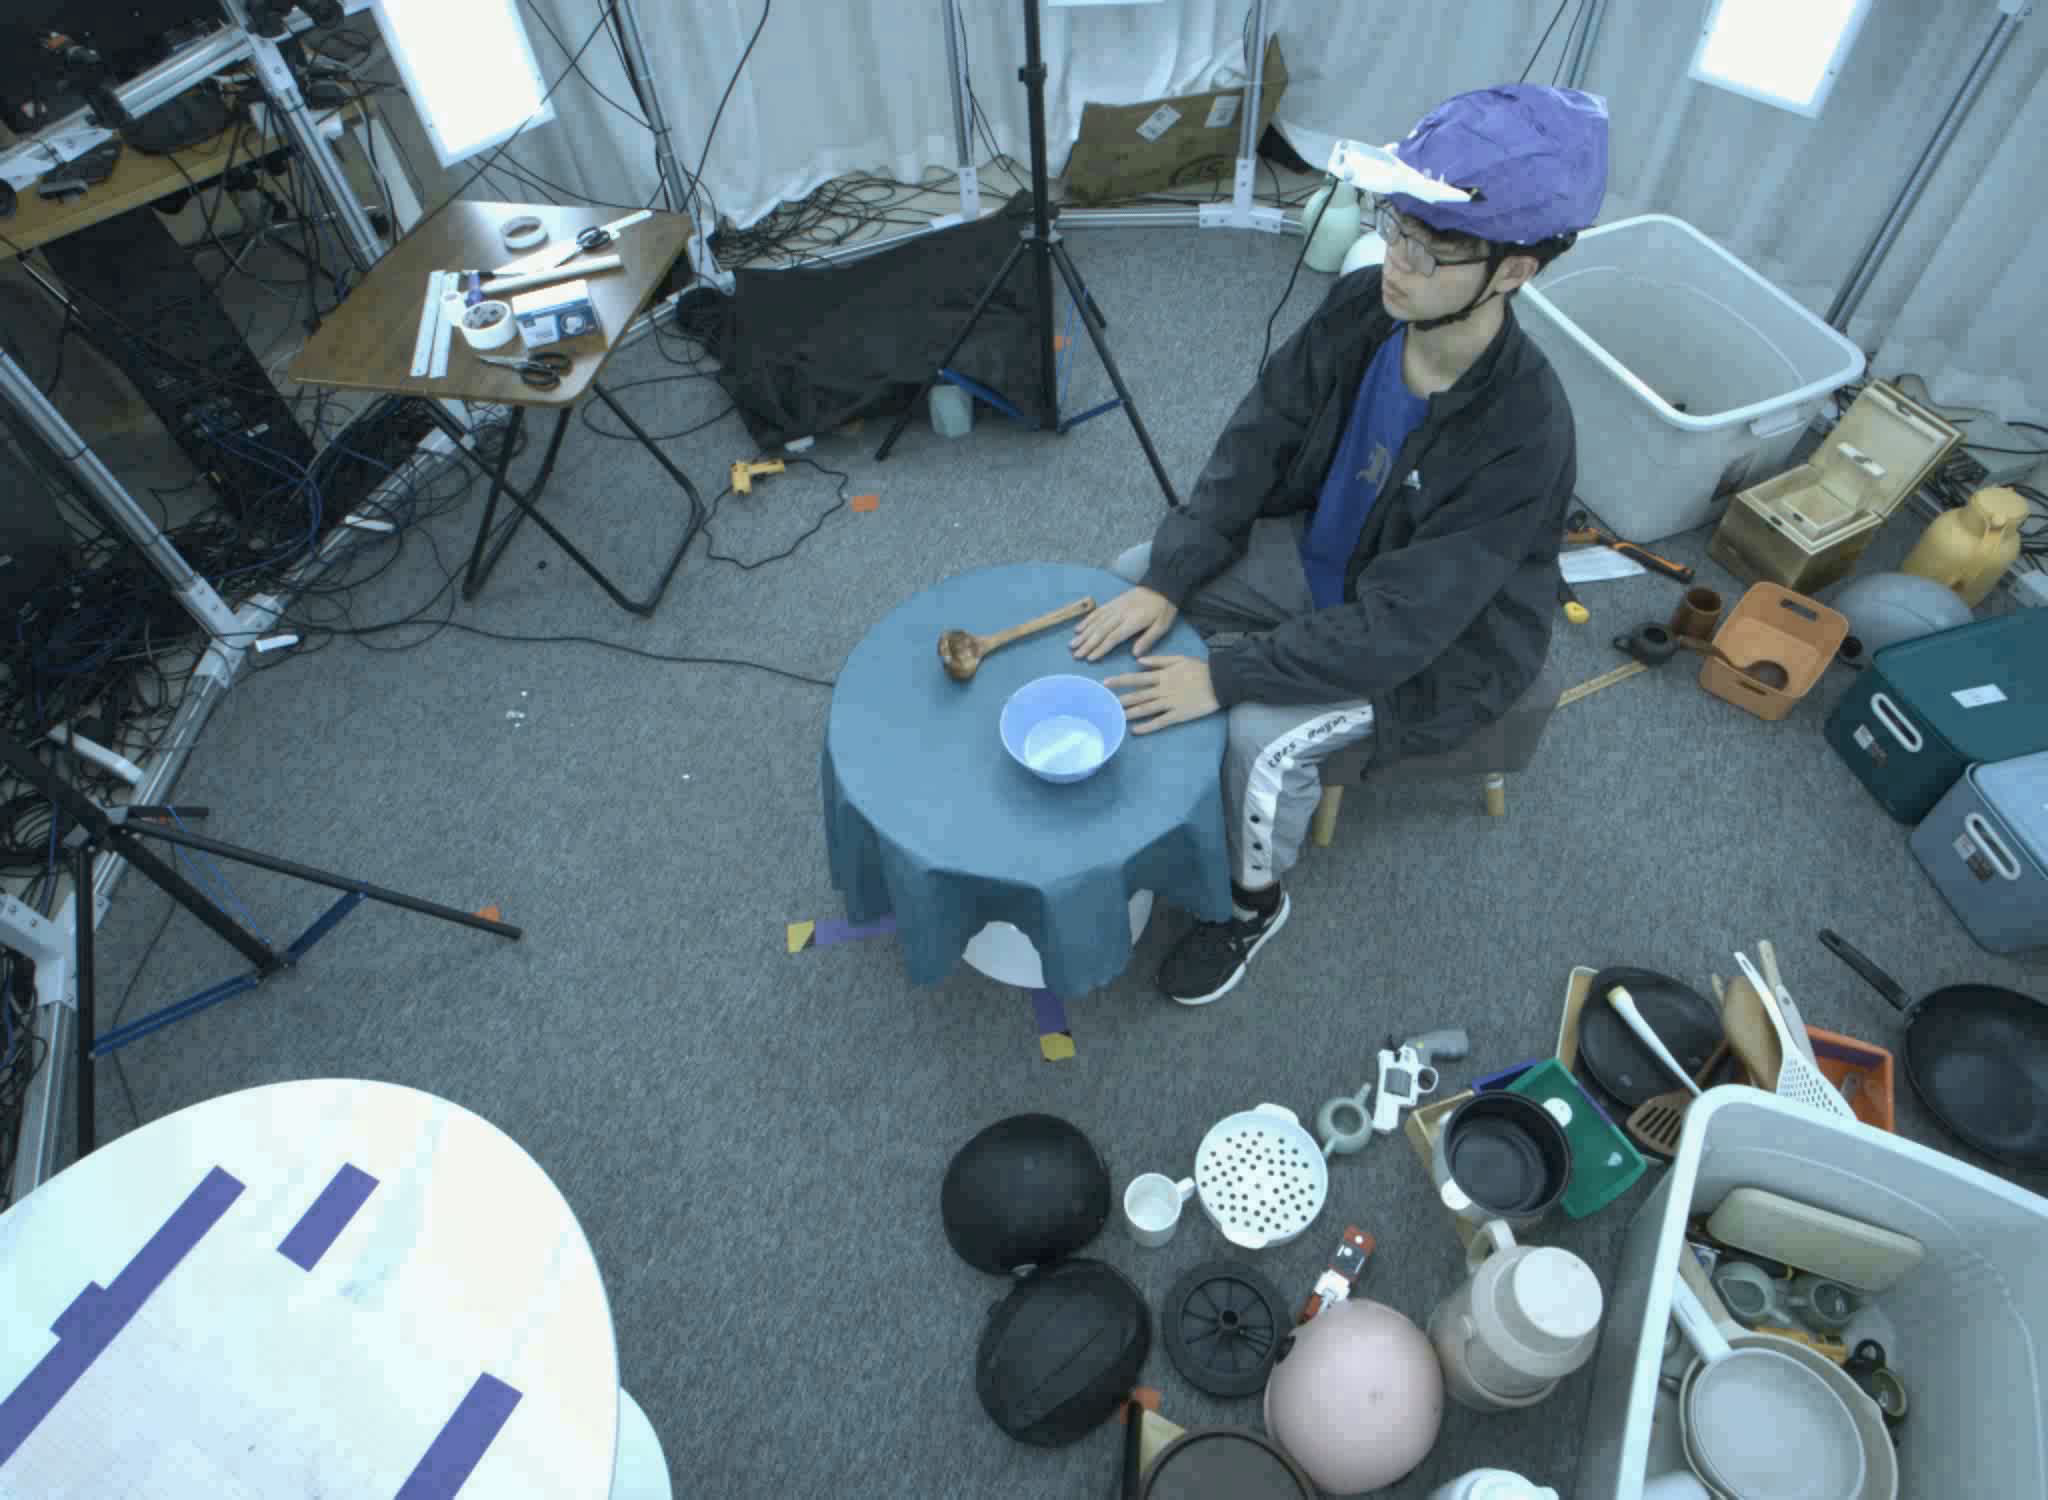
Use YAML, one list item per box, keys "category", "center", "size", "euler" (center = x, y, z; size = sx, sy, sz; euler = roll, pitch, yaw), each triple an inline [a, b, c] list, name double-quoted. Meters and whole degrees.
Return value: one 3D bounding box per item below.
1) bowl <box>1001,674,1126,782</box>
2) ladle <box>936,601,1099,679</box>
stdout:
- category: "bowl"
  center: [0.057, -0.021, 1.748]
  size: [0.176, 0.071, 0.174]
  euler: [0, 55, 2]
- category: "ladle"
  center: [-0.005, -0.181, 1.866]
  size: [0.276, 0.075, 0.082]
  euler: [-19, 101, -14]
